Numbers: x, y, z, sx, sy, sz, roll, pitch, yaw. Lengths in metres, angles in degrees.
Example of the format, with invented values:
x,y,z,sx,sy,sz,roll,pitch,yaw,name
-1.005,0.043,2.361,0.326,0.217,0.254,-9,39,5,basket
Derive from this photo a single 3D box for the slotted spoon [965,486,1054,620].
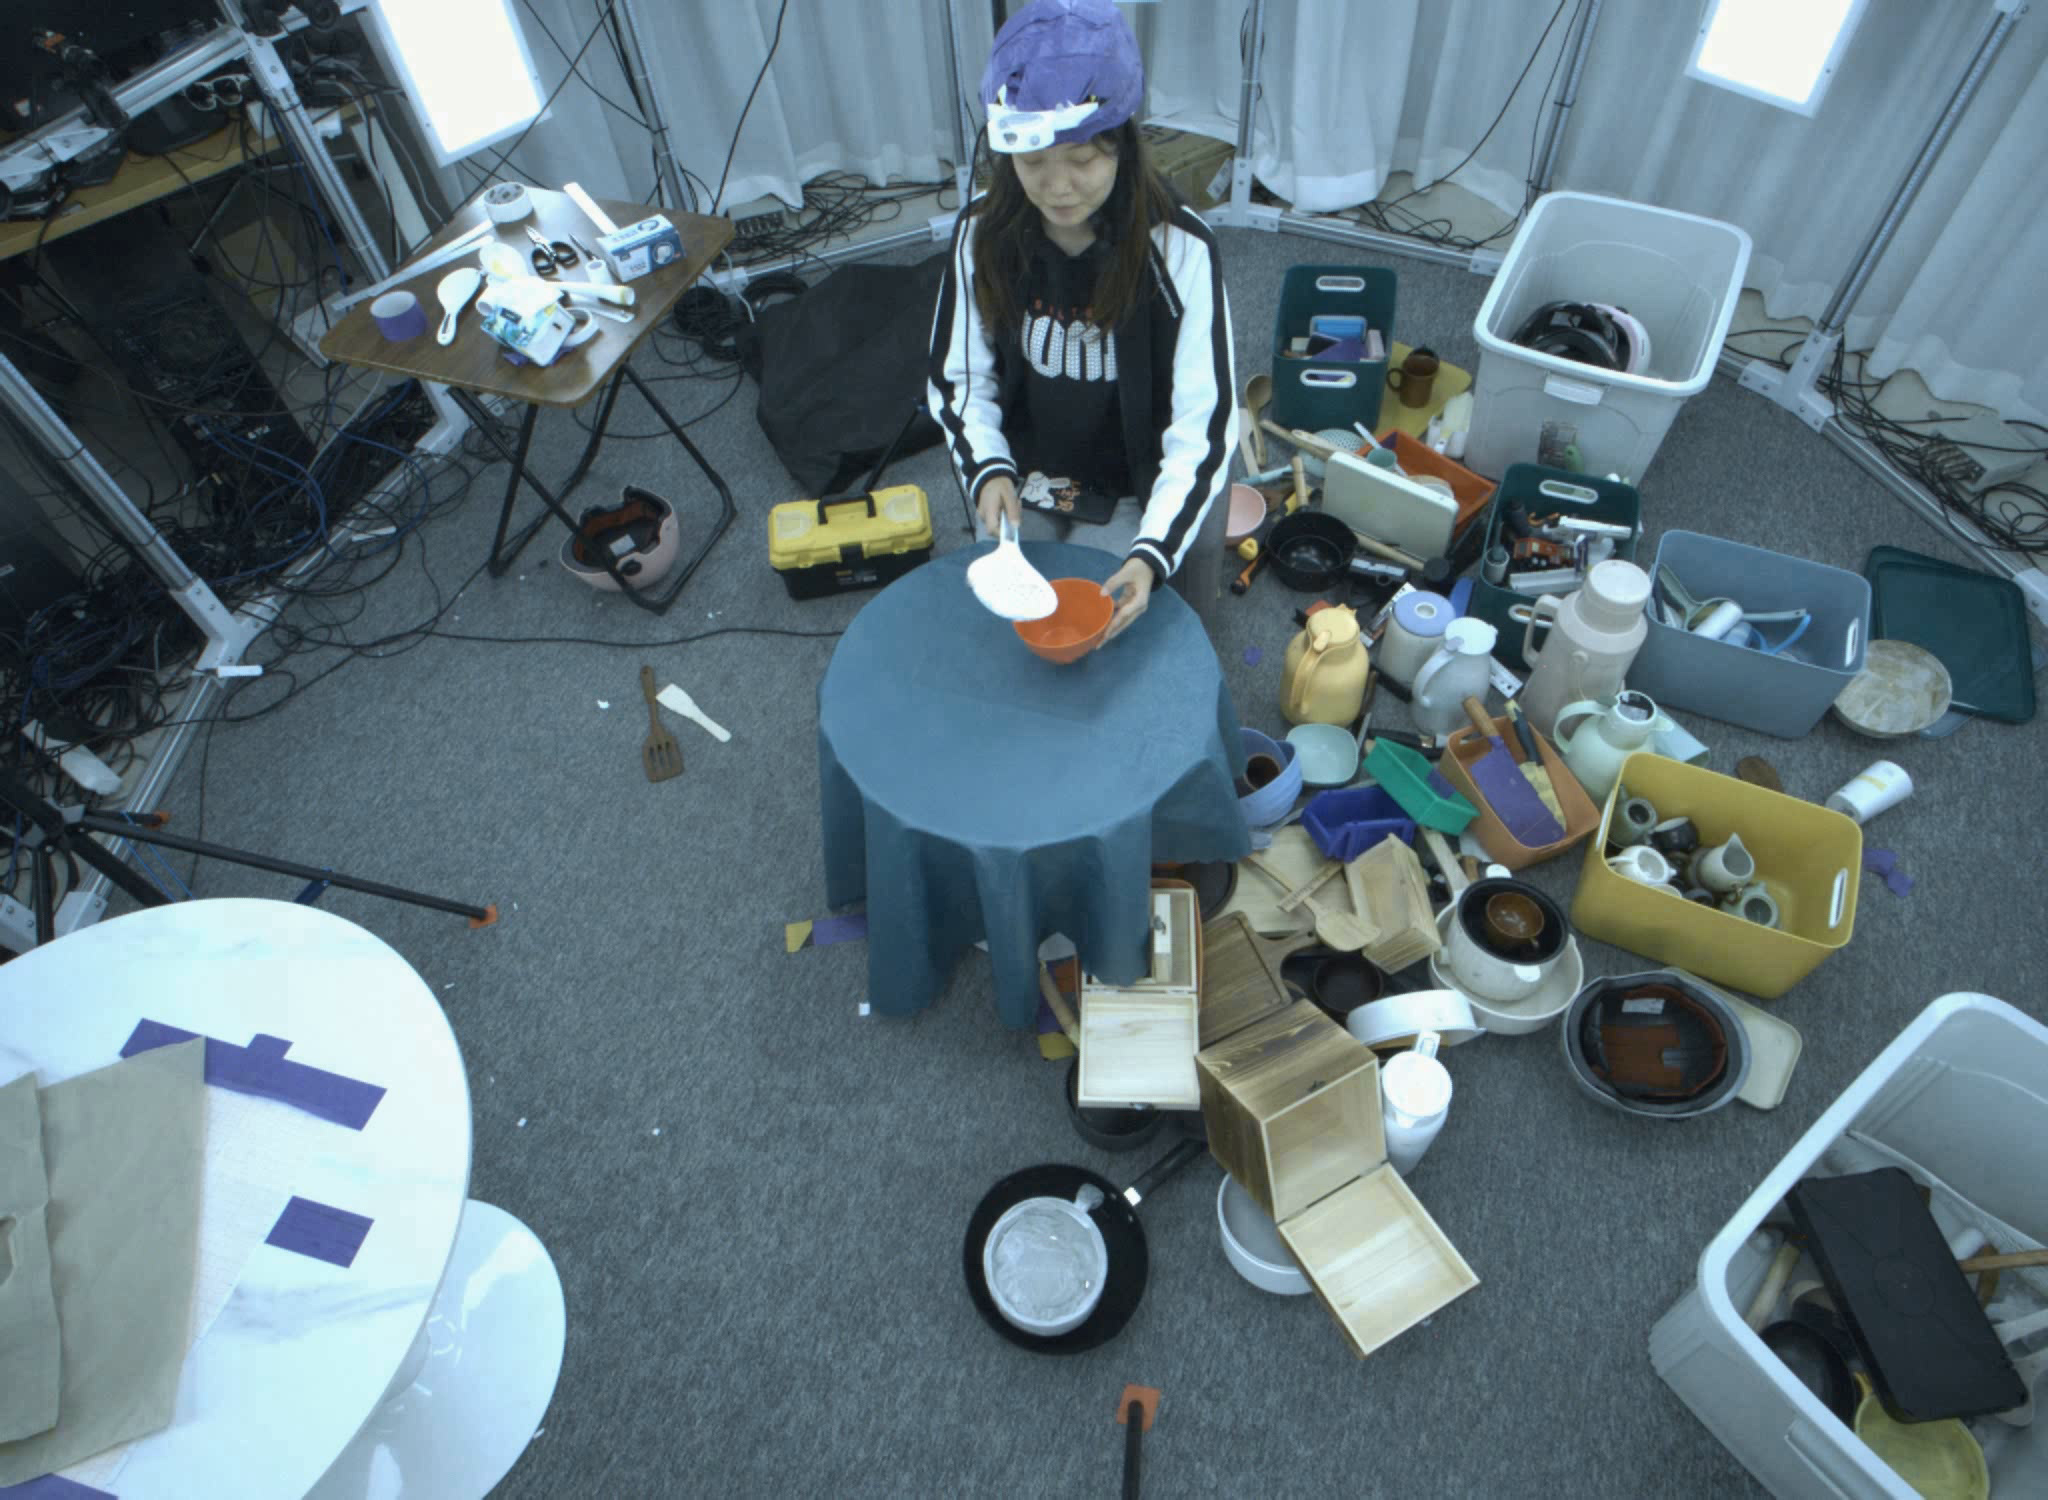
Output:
x,y,z,sx,sy,sz,roll,pitch,yaw,name
-0.025,-0.302,1.837,0.138,0.045,0.346,16,45,-16,slotted spoon

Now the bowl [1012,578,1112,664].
x,y,z,sx,sy,sz,roll,pitch,yaw,name
0.059,-0.178,1.825,0.147,0.106,0.146,-2,57,5,bowl
